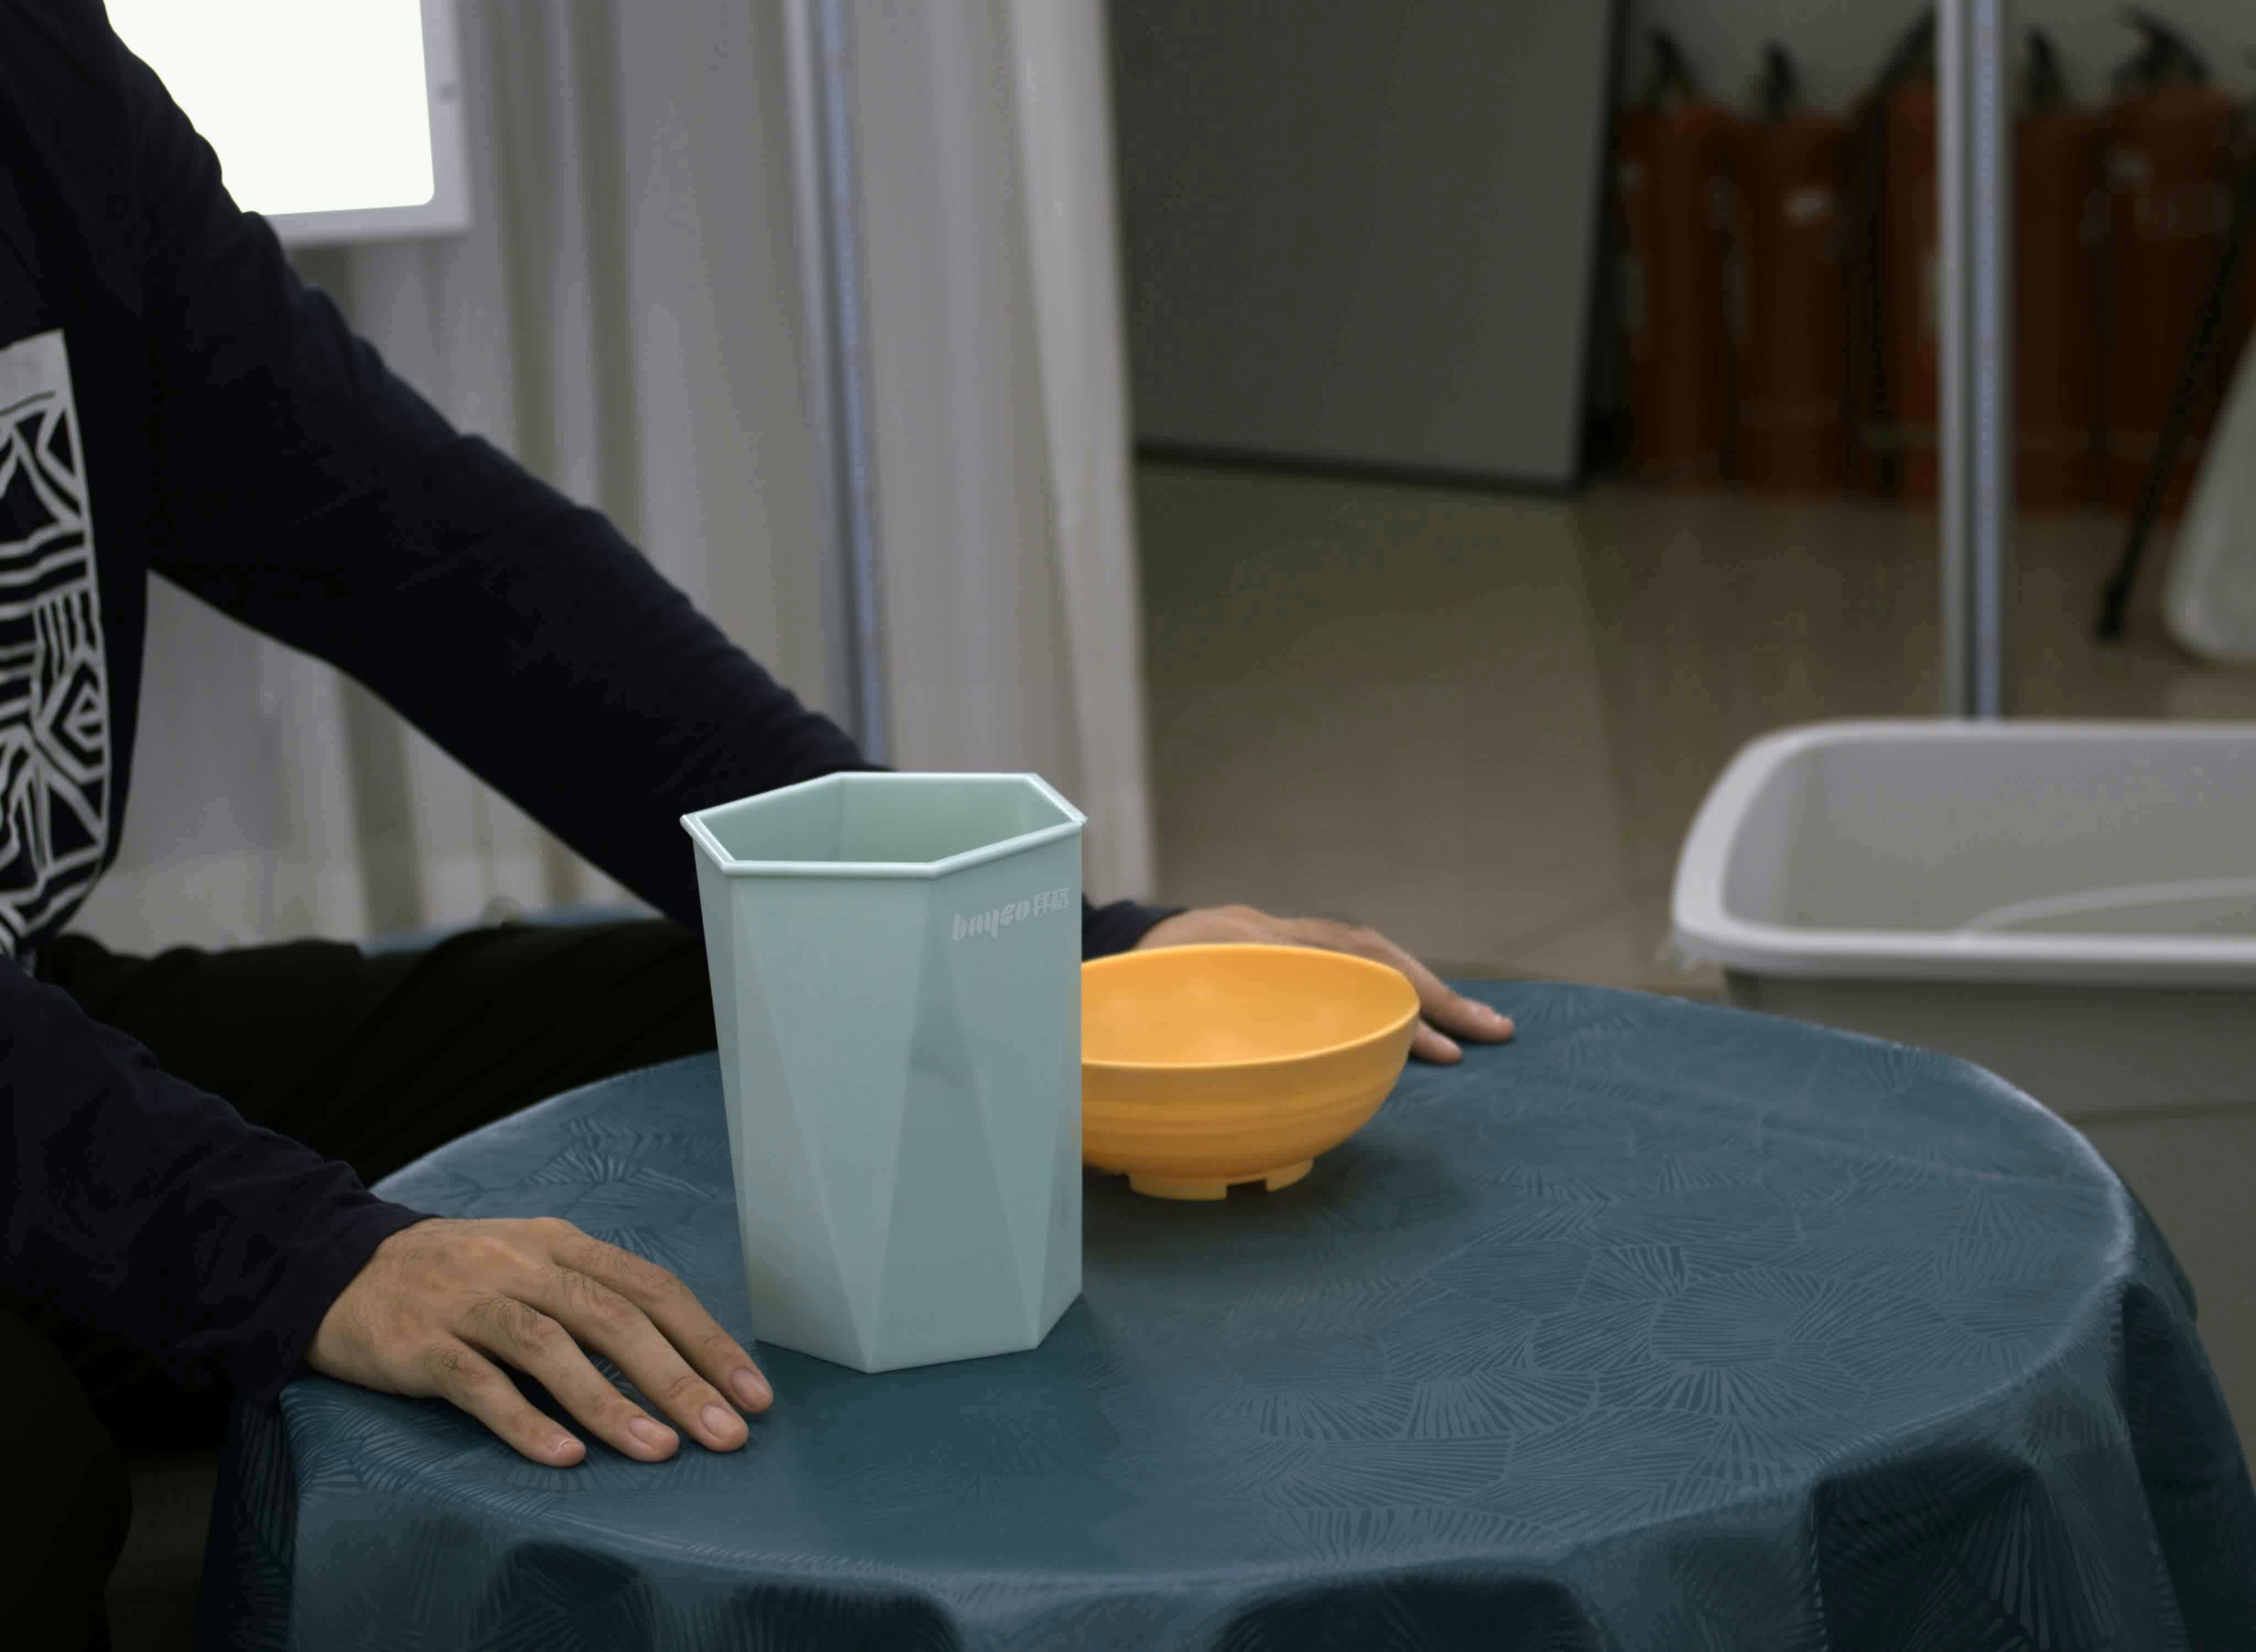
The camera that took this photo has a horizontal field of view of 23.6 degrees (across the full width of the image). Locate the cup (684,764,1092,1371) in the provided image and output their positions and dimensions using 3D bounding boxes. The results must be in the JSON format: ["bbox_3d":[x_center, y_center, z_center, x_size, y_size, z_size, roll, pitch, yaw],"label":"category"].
[{"bbox_3d":[-0.068,0.072,1.647,0.116,0.165,0.128,8,17,44],"label":"cup"}]

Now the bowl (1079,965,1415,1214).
[{"bbox_3d":[0.025,0.091,1.784,0.143,0.061,0.145,-5,11,0],"label":"bowl"}]
